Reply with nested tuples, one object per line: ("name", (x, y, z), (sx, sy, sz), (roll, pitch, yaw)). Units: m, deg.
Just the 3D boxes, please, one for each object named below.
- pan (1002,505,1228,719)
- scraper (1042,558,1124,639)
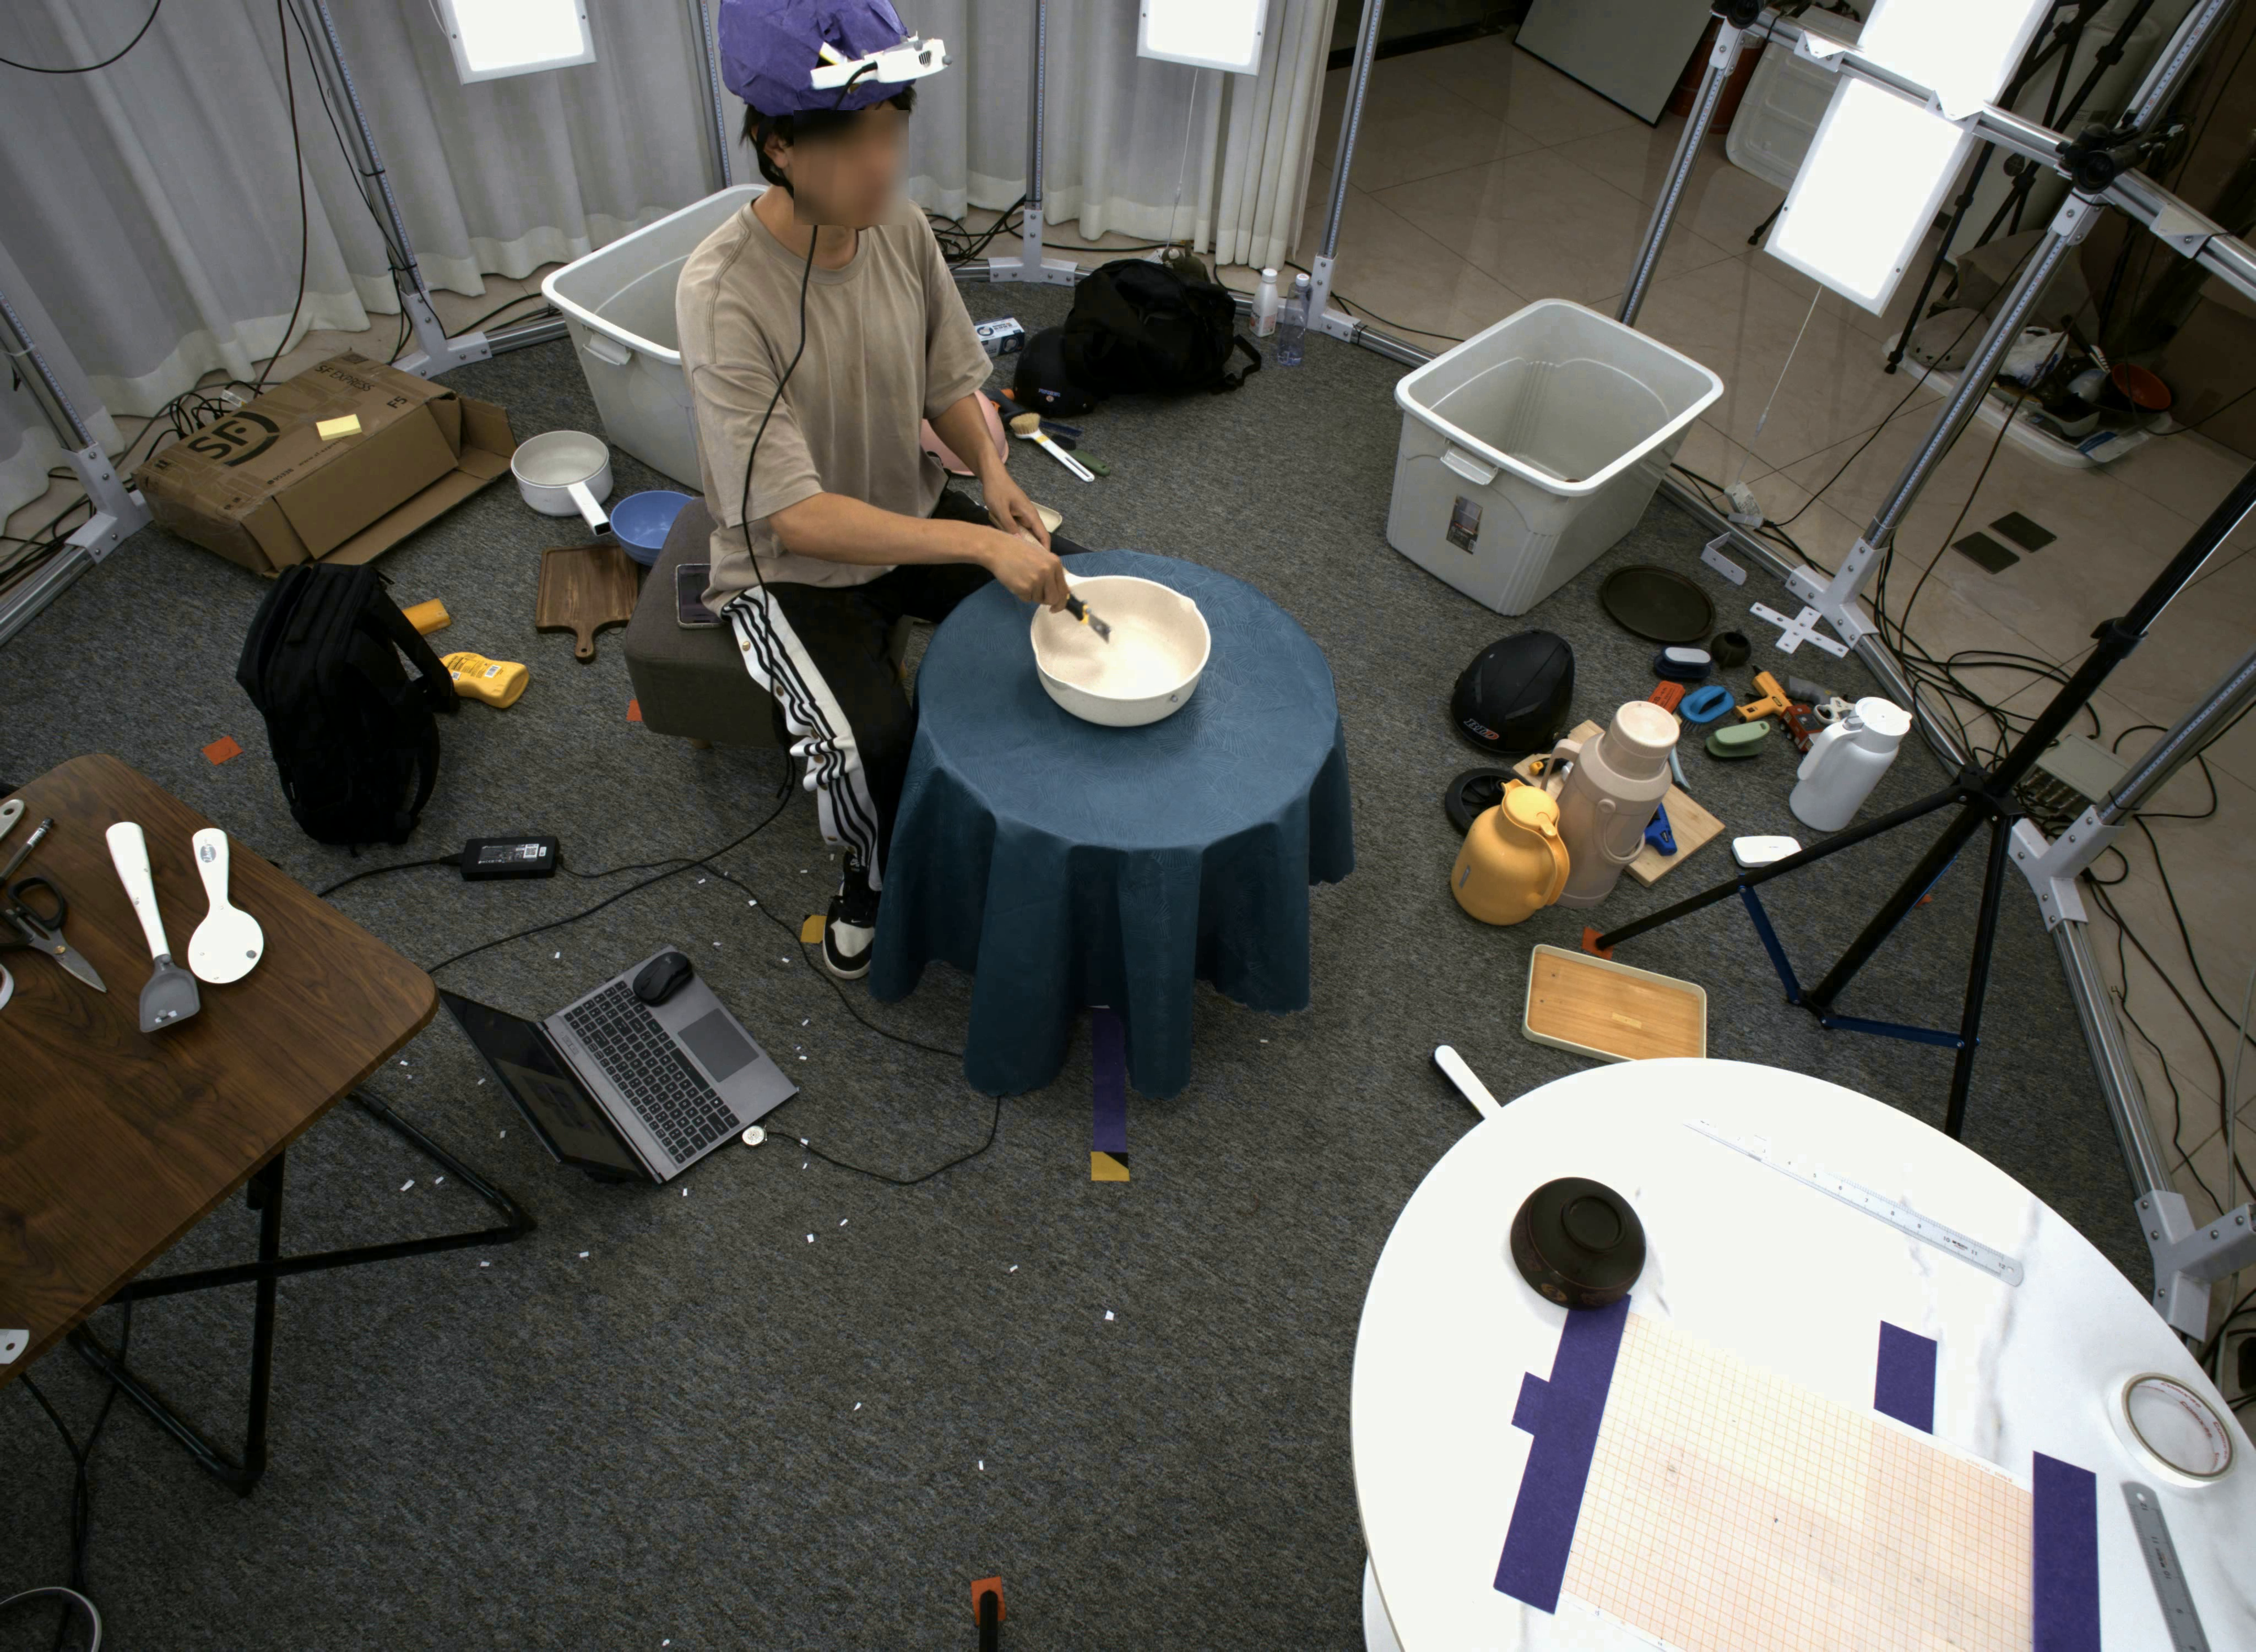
("pan", (-0.044, -0.315, 1.864), (0.265, 0.099, 0.442), (-30, 57, -25))
("scraper", (-0.060, -0.316, 1.783), (0.015, 0.168, 0.039), (-18, 53, 35))
